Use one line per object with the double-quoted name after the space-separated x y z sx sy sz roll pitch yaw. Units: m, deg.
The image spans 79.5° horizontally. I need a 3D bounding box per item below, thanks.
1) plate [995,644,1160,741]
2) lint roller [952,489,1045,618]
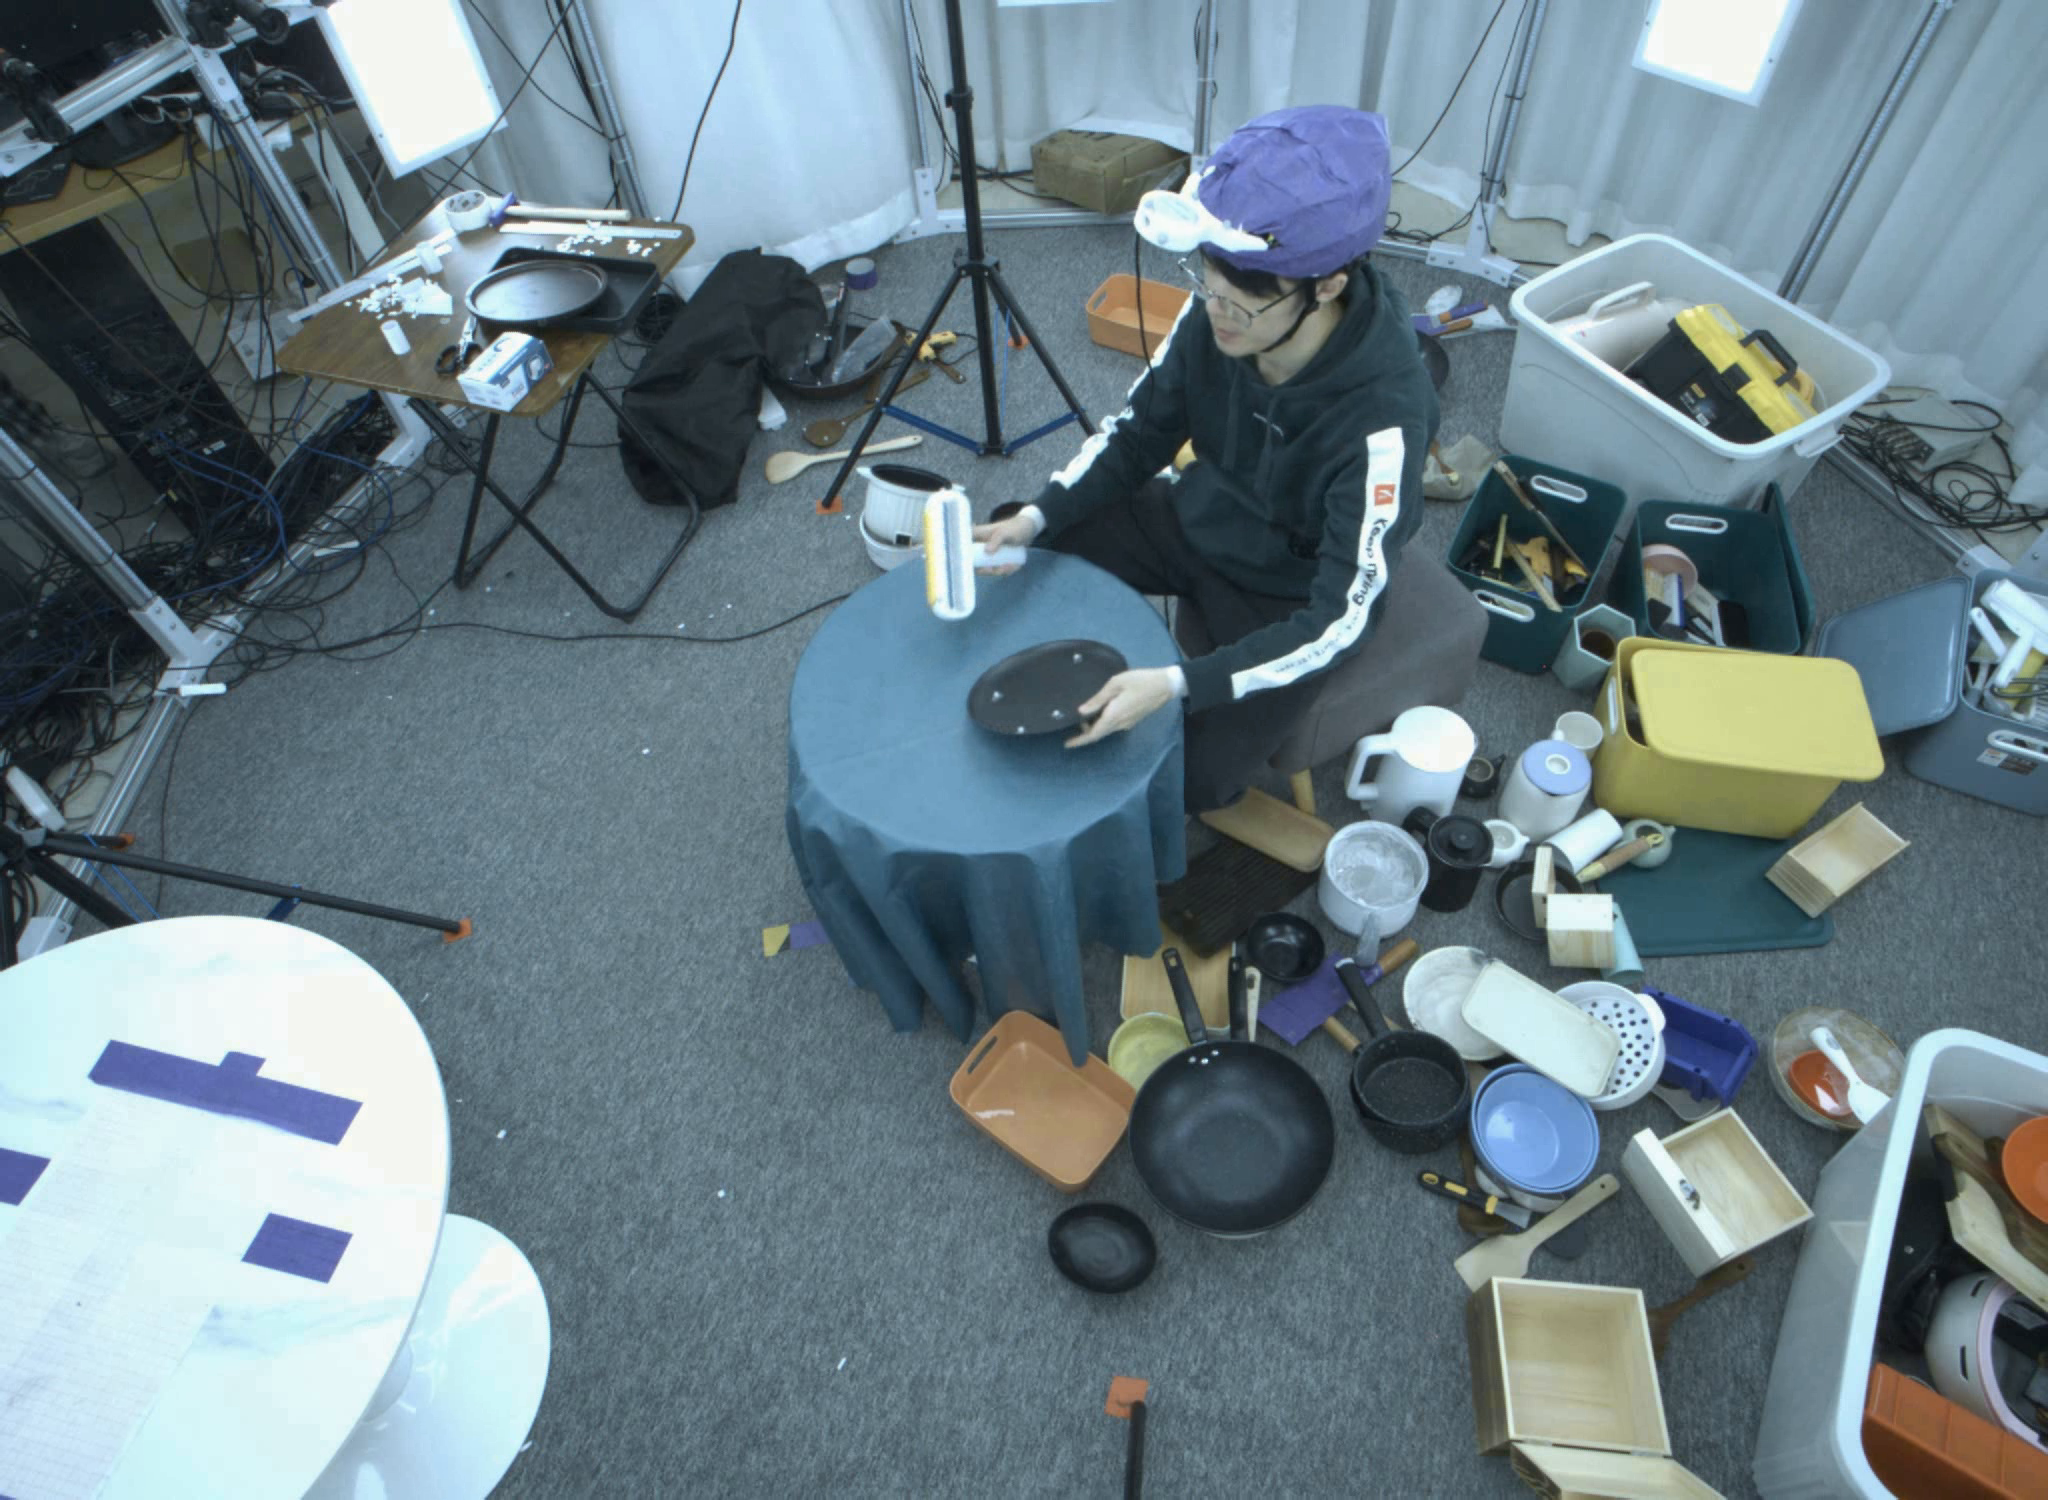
0.078 -0.080 1.785 0.243 0.024 0.242 -10 35 8 "plate"
-0.030 -0.295 1.888 0.196 0.193 0.072 -1 2 -43 "lint roller"
